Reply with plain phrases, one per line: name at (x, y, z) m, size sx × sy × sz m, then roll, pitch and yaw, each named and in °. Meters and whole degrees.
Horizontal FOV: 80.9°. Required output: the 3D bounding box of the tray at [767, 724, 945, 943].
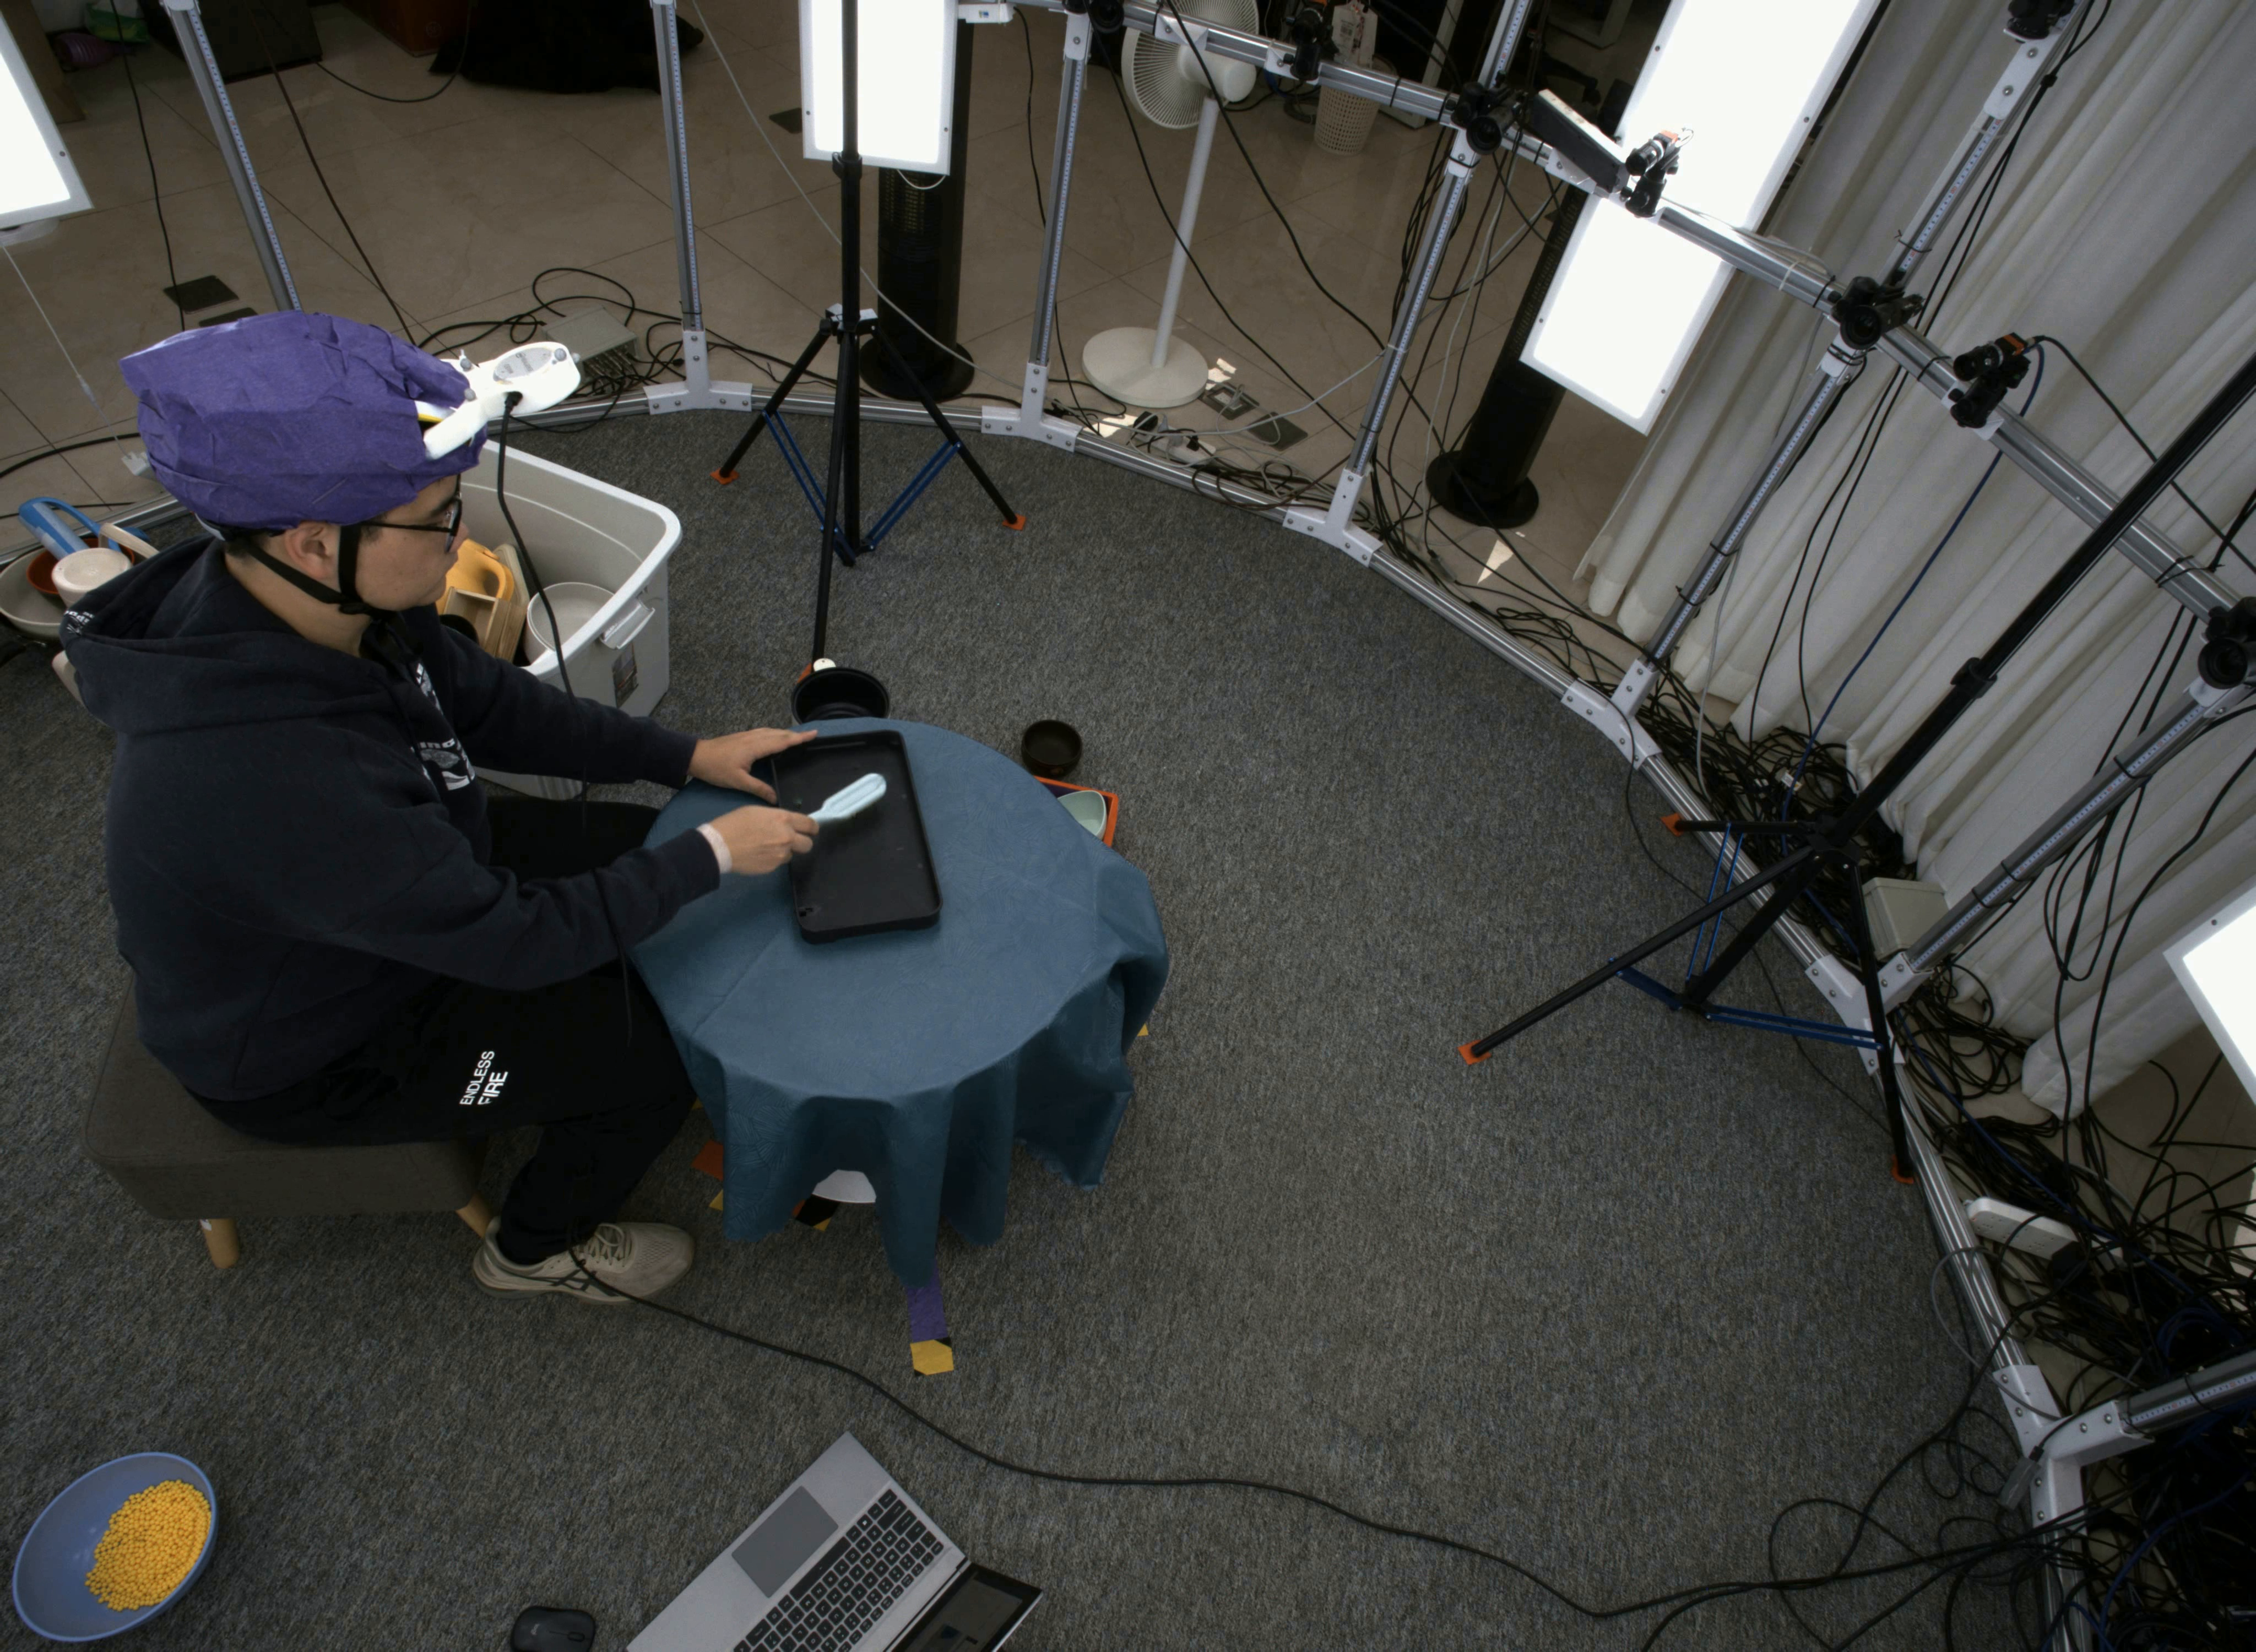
tray at (-0.362, 0.002, 1.711) m, size 0.185 × 0.038 × 0.310 m, roll -9°, pitch 57°, yaw -19°

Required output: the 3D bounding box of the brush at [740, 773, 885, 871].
brush at (-0.403, -0.002, 1.662) m, size 0.038 × 0.049 × 0.229 m, roll 51°, pitch 48°, yaw 1°
